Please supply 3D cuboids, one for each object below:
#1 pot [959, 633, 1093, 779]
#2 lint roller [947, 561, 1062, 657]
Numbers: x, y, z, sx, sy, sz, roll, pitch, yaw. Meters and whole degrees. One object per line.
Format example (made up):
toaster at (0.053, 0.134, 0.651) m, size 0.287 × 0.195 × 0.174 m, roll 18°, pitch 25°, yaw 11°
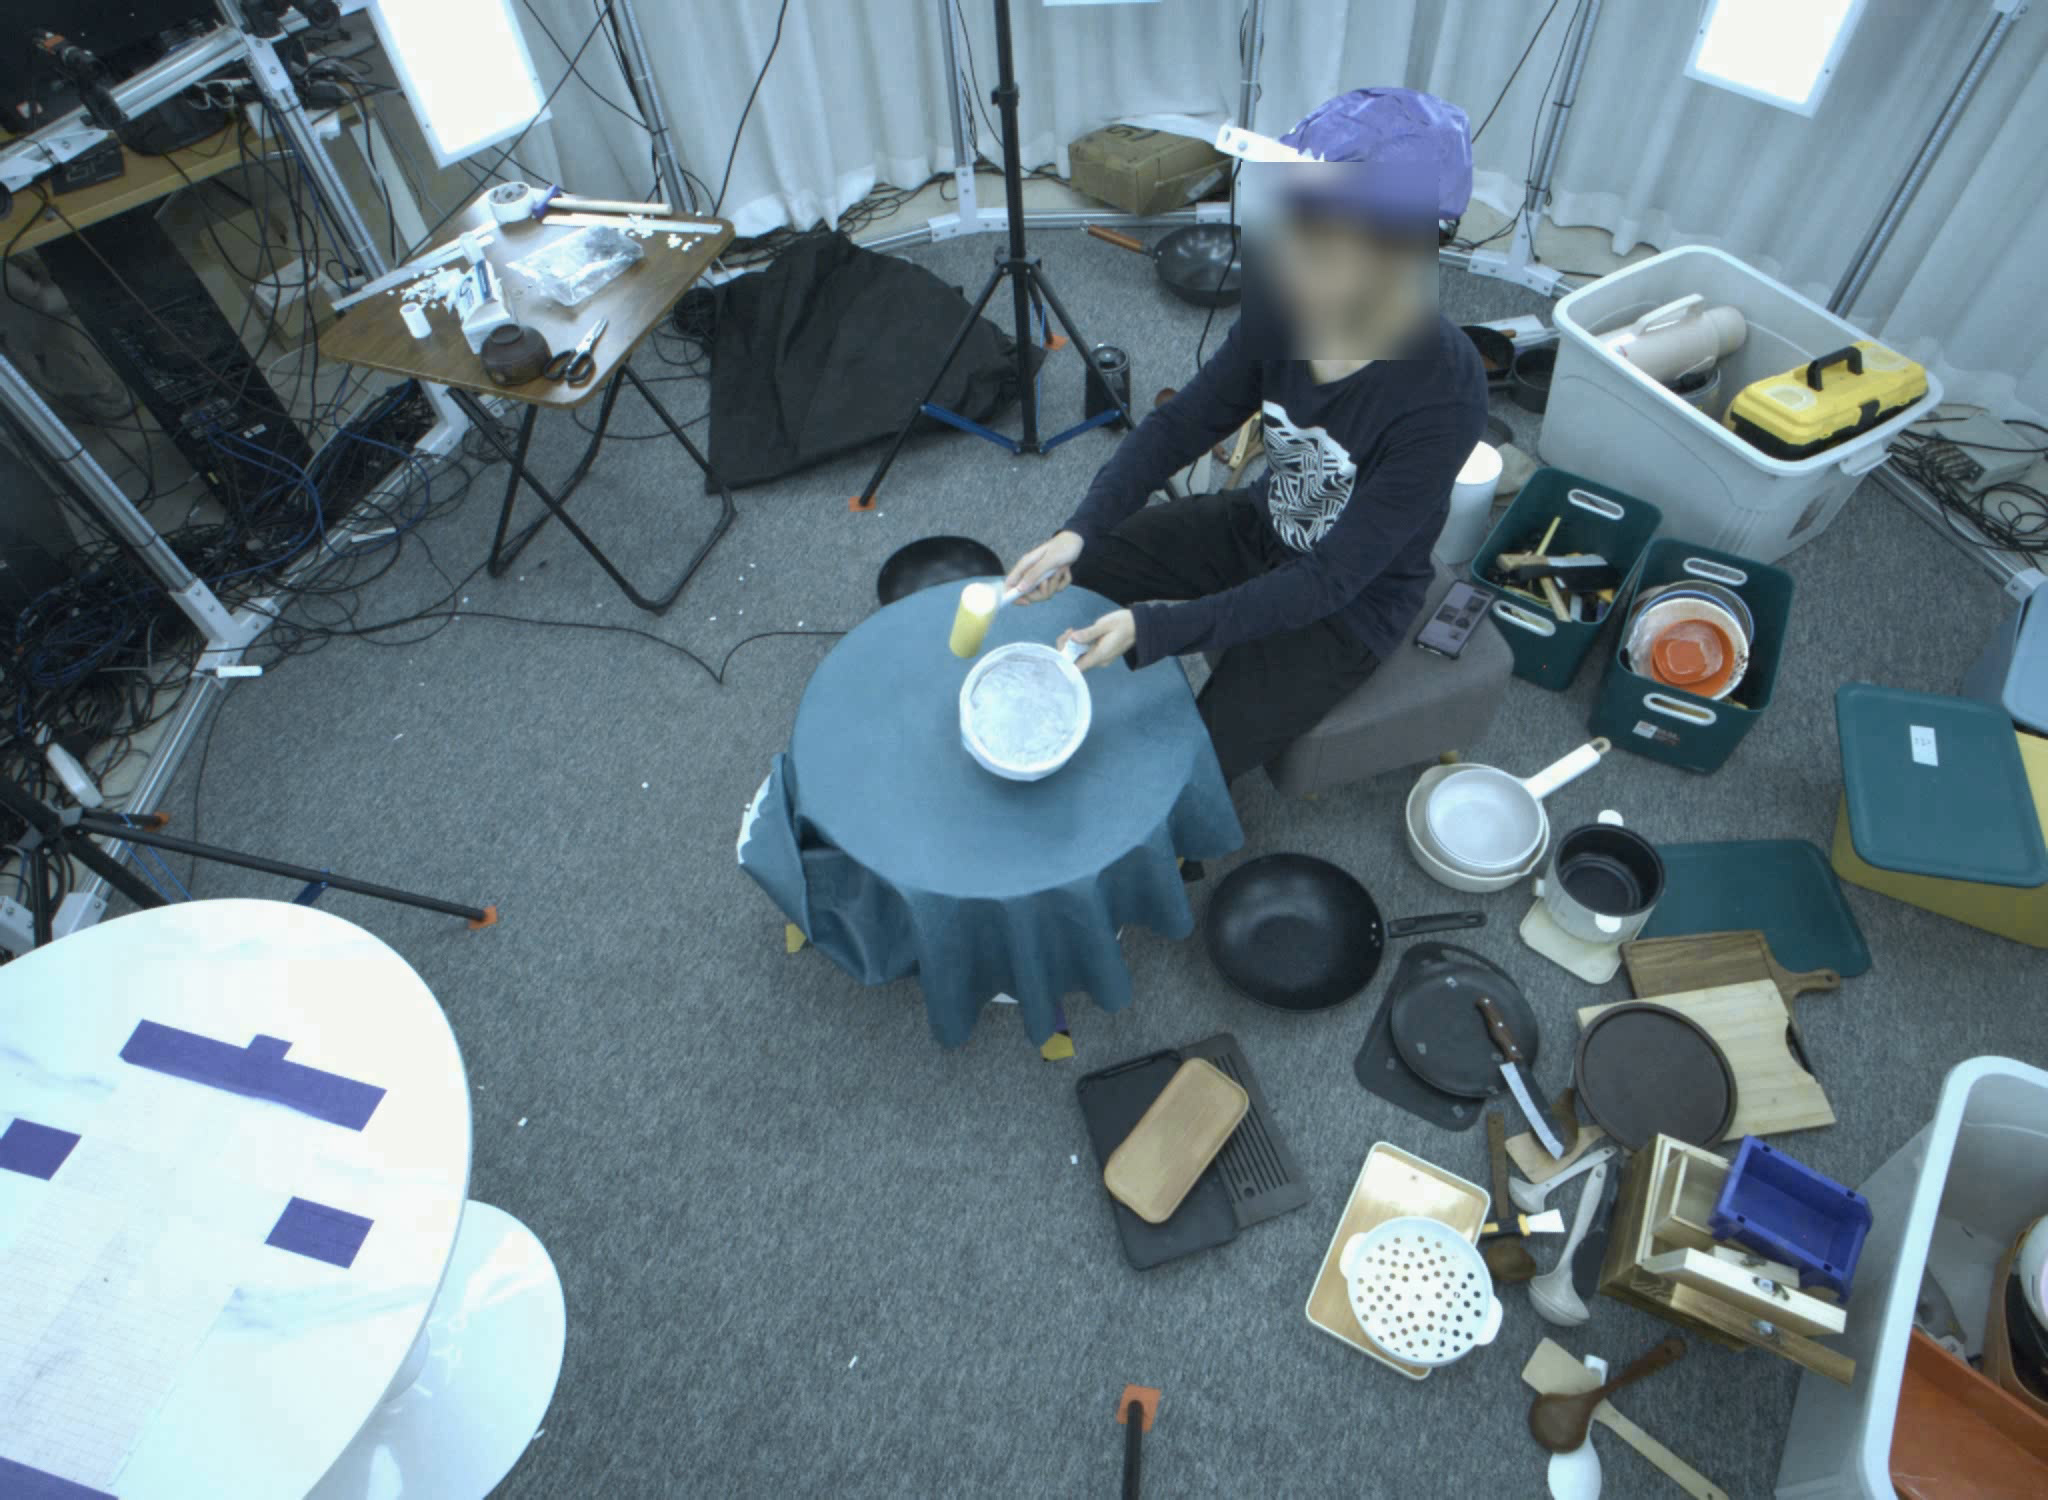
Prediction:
pot at (0.016, -0.072, 1.716) m, size 0.179 × 0.136 × 0.234 m, roll 37°, pitch 83°, yaw 0°
lint roller at (-0.026, -0.229, 1.783) m, size 0.051 × 0.174 × 0.193 m, roll 44°, pitch 68°, yaw 4°
